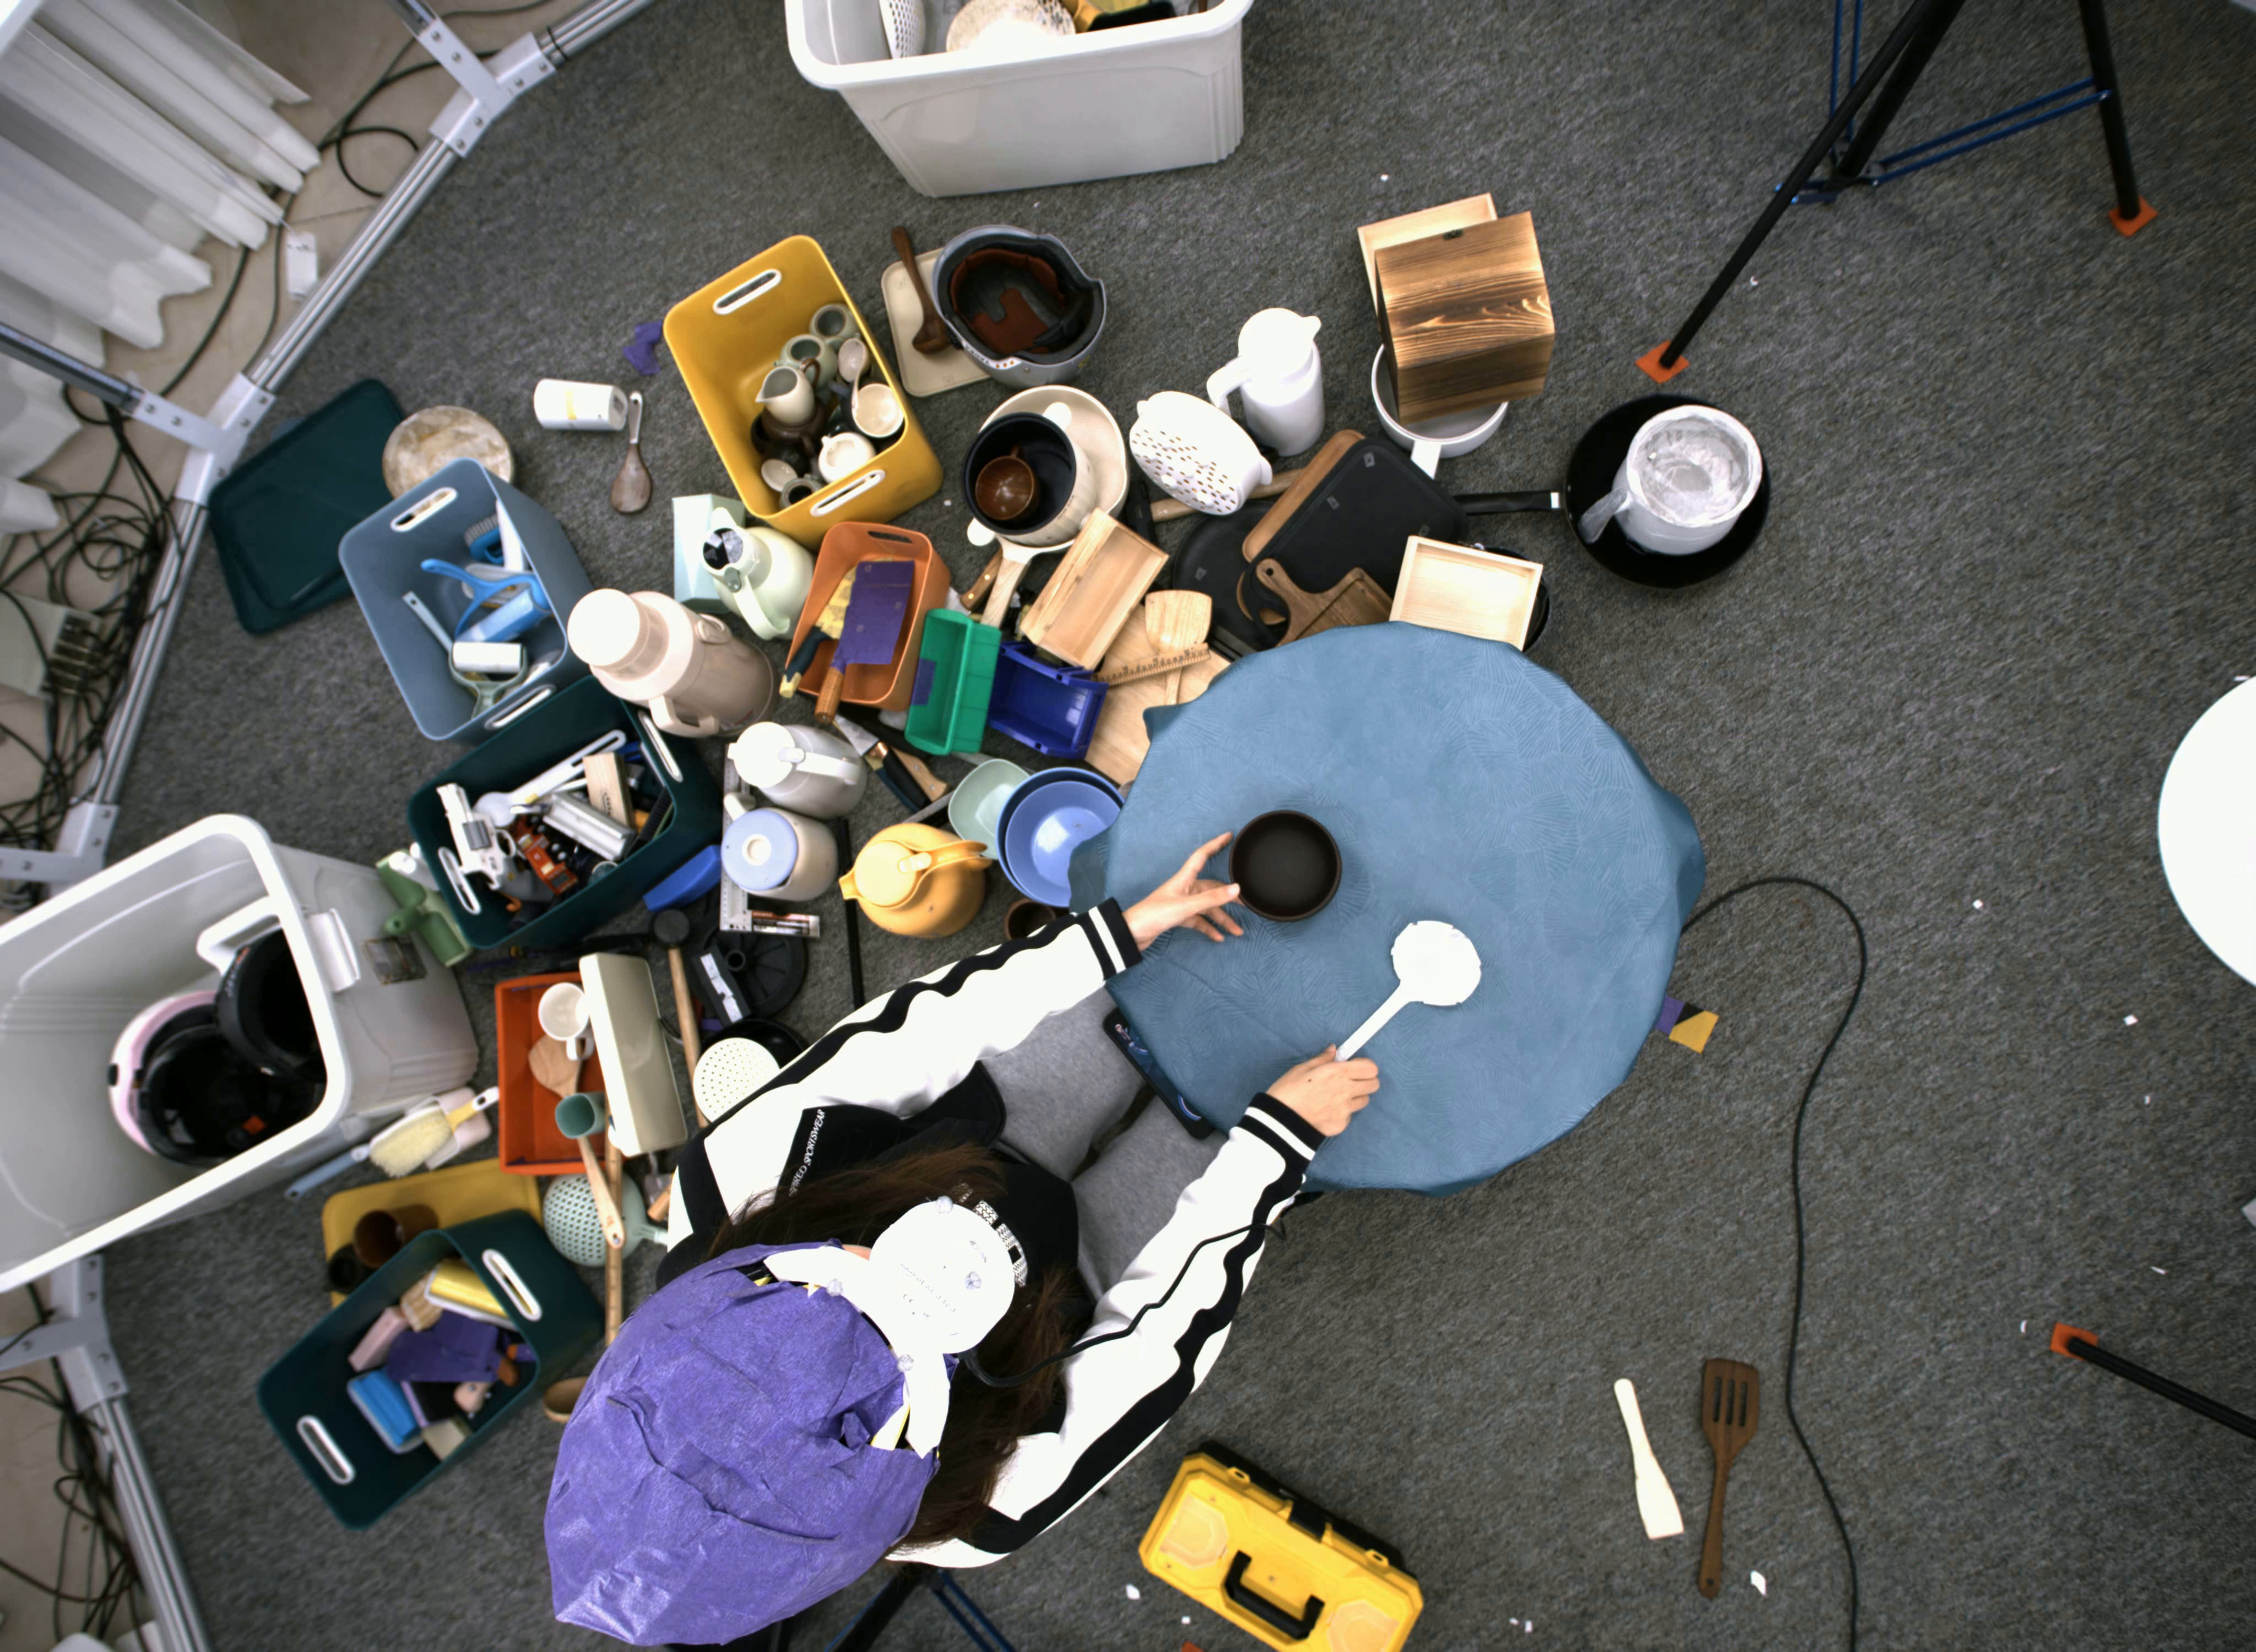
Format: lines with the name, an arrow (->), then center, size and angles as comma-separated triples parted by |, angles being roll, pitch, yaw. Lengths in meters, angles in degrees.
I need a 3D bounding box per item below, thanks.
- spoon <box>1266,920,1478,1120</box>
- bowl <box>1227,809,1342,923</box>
spoon -> 0.241, 0.205, 1.429 | 0.278, 0.059, 0.100 | -43, 78, 5
bowl -> 0.165, 0.043, 1.444 | 0.118, 0.070, 0.117 | -1, 86, 11
